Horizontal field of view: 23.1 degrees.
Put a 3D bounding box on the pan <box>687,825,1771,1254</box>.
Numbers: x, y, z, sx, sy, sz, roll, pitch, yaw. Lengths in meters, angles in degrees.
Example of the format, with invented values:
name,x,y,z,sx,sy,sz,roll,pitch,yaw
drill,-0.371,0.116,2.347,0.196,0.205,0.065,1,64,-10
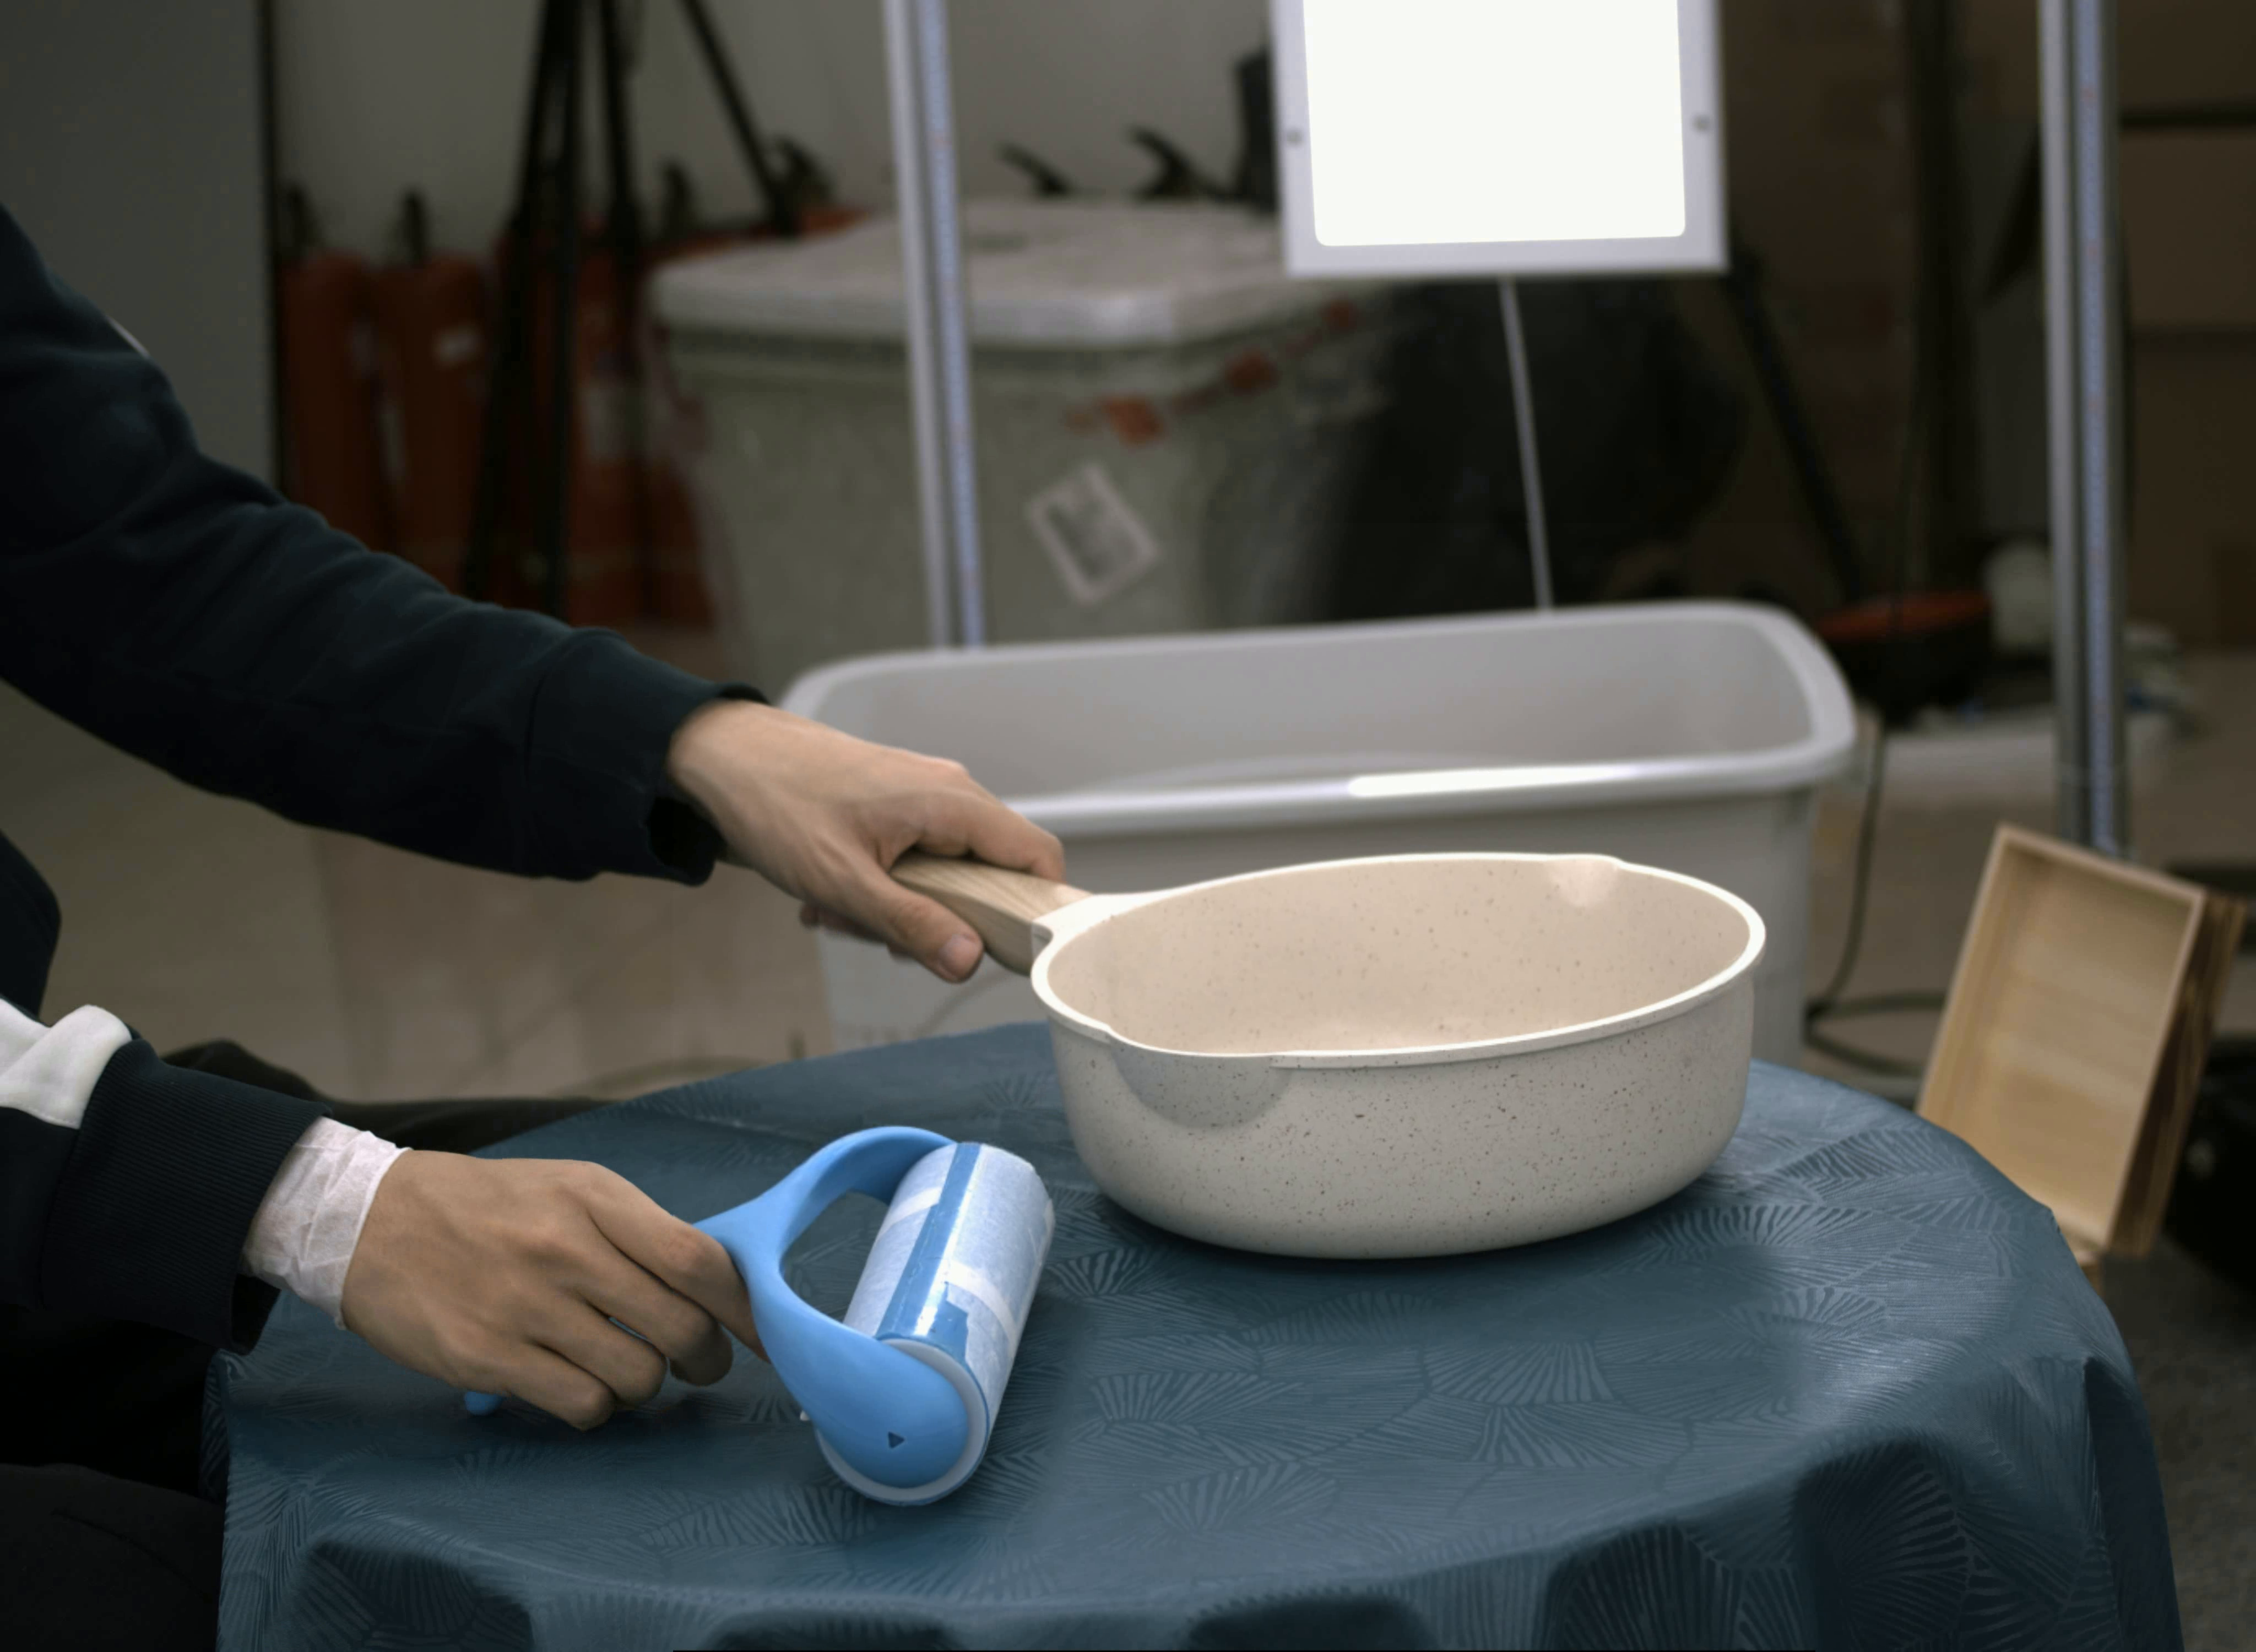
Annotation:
name,x,y,z,sx,sy,sz,roll,pitch,yaw
pan,0.022,0.063,1.933,0.444,0.102,0.257,5,18,37

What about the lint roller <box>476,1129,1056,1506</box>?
name,x,y,z,sx,sy,sz,roll,pitch,yaw
lint roller,-0.116,0.153,1.710,0.180,0.068,0.228,-3,15,4
